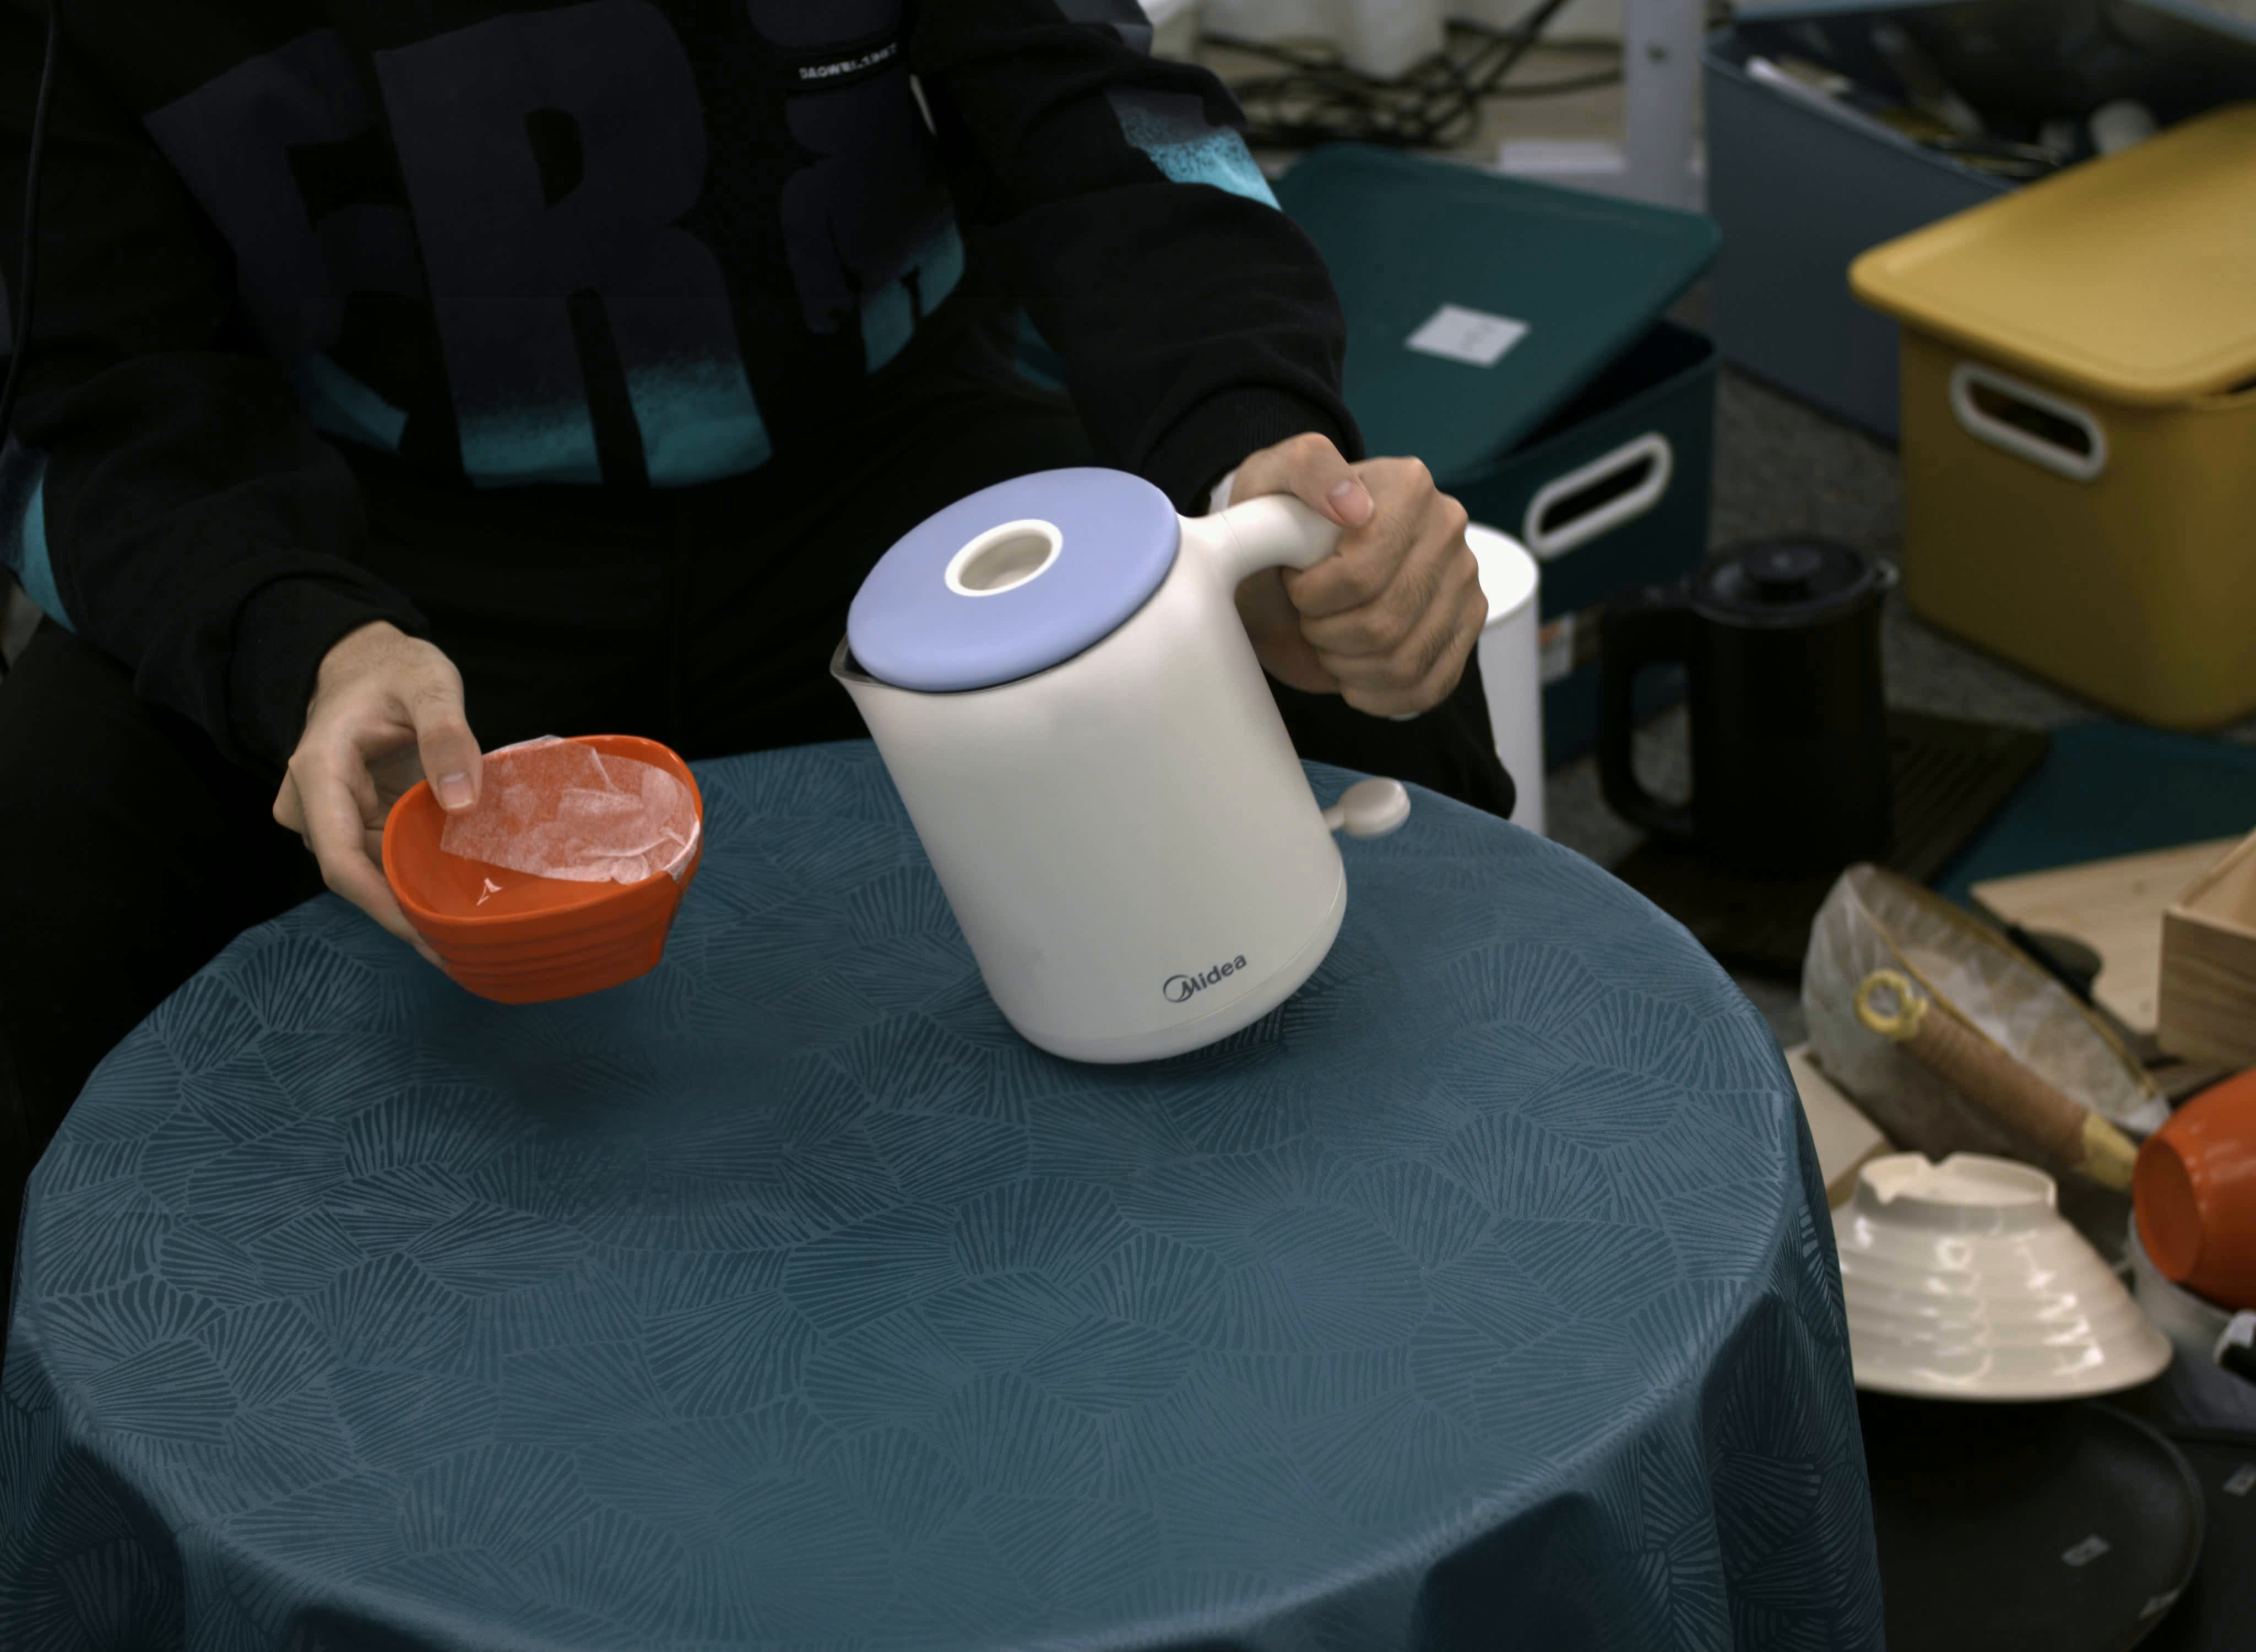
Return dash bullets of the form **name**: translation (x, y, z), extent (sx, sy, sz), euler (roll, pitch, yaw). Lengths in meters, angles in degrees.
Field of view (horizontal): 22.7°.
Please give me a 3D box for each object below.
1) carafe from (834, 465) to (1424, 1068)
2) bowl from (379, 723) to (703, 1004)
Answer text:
- **carafe**: translation (0.010, -0.030, 1.926), extent (0.191, 0.180, 0.133), euler (-24, 33, -8)
- **bowl**: translation (-0.195, 0.018, 1.910), extent (0.118, 0.051, 0.121), euler (-6, 35, 5)
